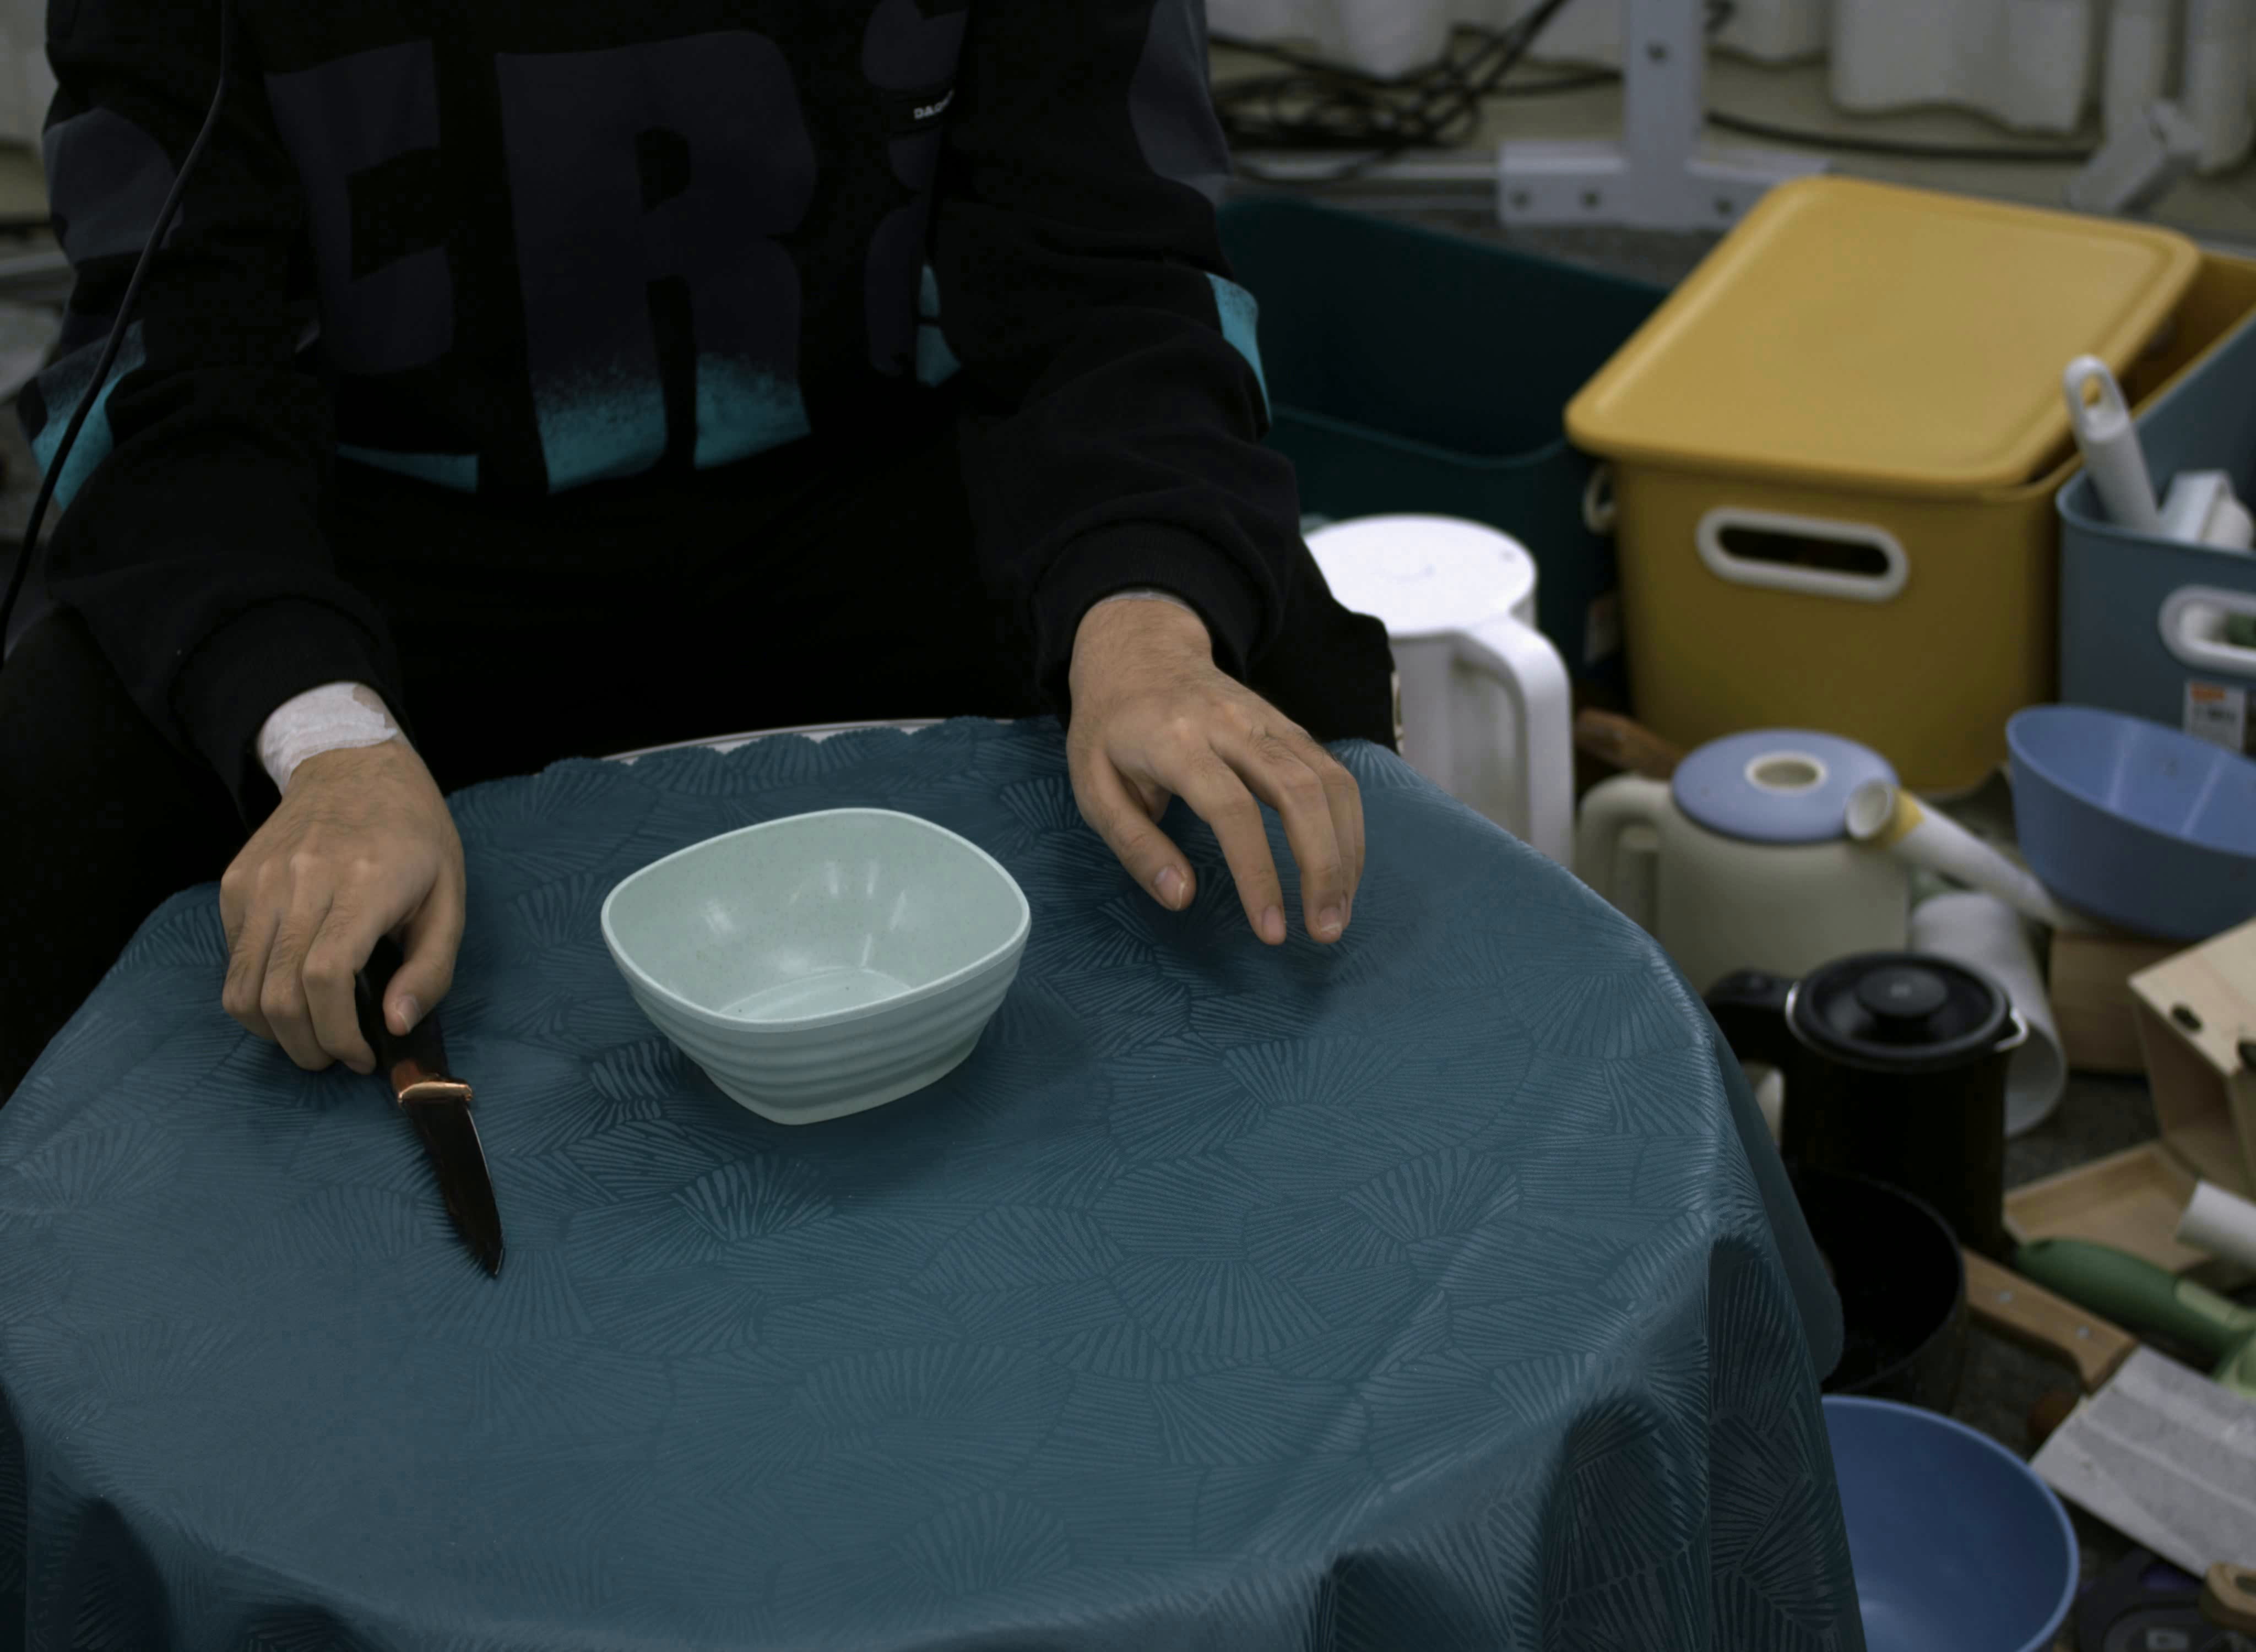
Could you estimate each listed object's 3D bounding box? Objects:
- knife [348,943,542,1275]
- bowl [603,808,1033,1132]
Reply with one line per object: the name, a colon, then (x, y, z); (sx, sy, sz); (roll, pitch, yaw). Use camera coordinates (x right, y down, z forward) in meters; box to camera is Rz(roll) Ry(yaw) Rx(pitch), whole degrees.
knife: (-0.236, 0.096, 1.923); (0.026, 0.017, 0.227); (-1, 26, -20)
bowl: (-0.105, 0.056, 1.941); (0.150, 0.058, 0.154); (-3, 28, 2)
